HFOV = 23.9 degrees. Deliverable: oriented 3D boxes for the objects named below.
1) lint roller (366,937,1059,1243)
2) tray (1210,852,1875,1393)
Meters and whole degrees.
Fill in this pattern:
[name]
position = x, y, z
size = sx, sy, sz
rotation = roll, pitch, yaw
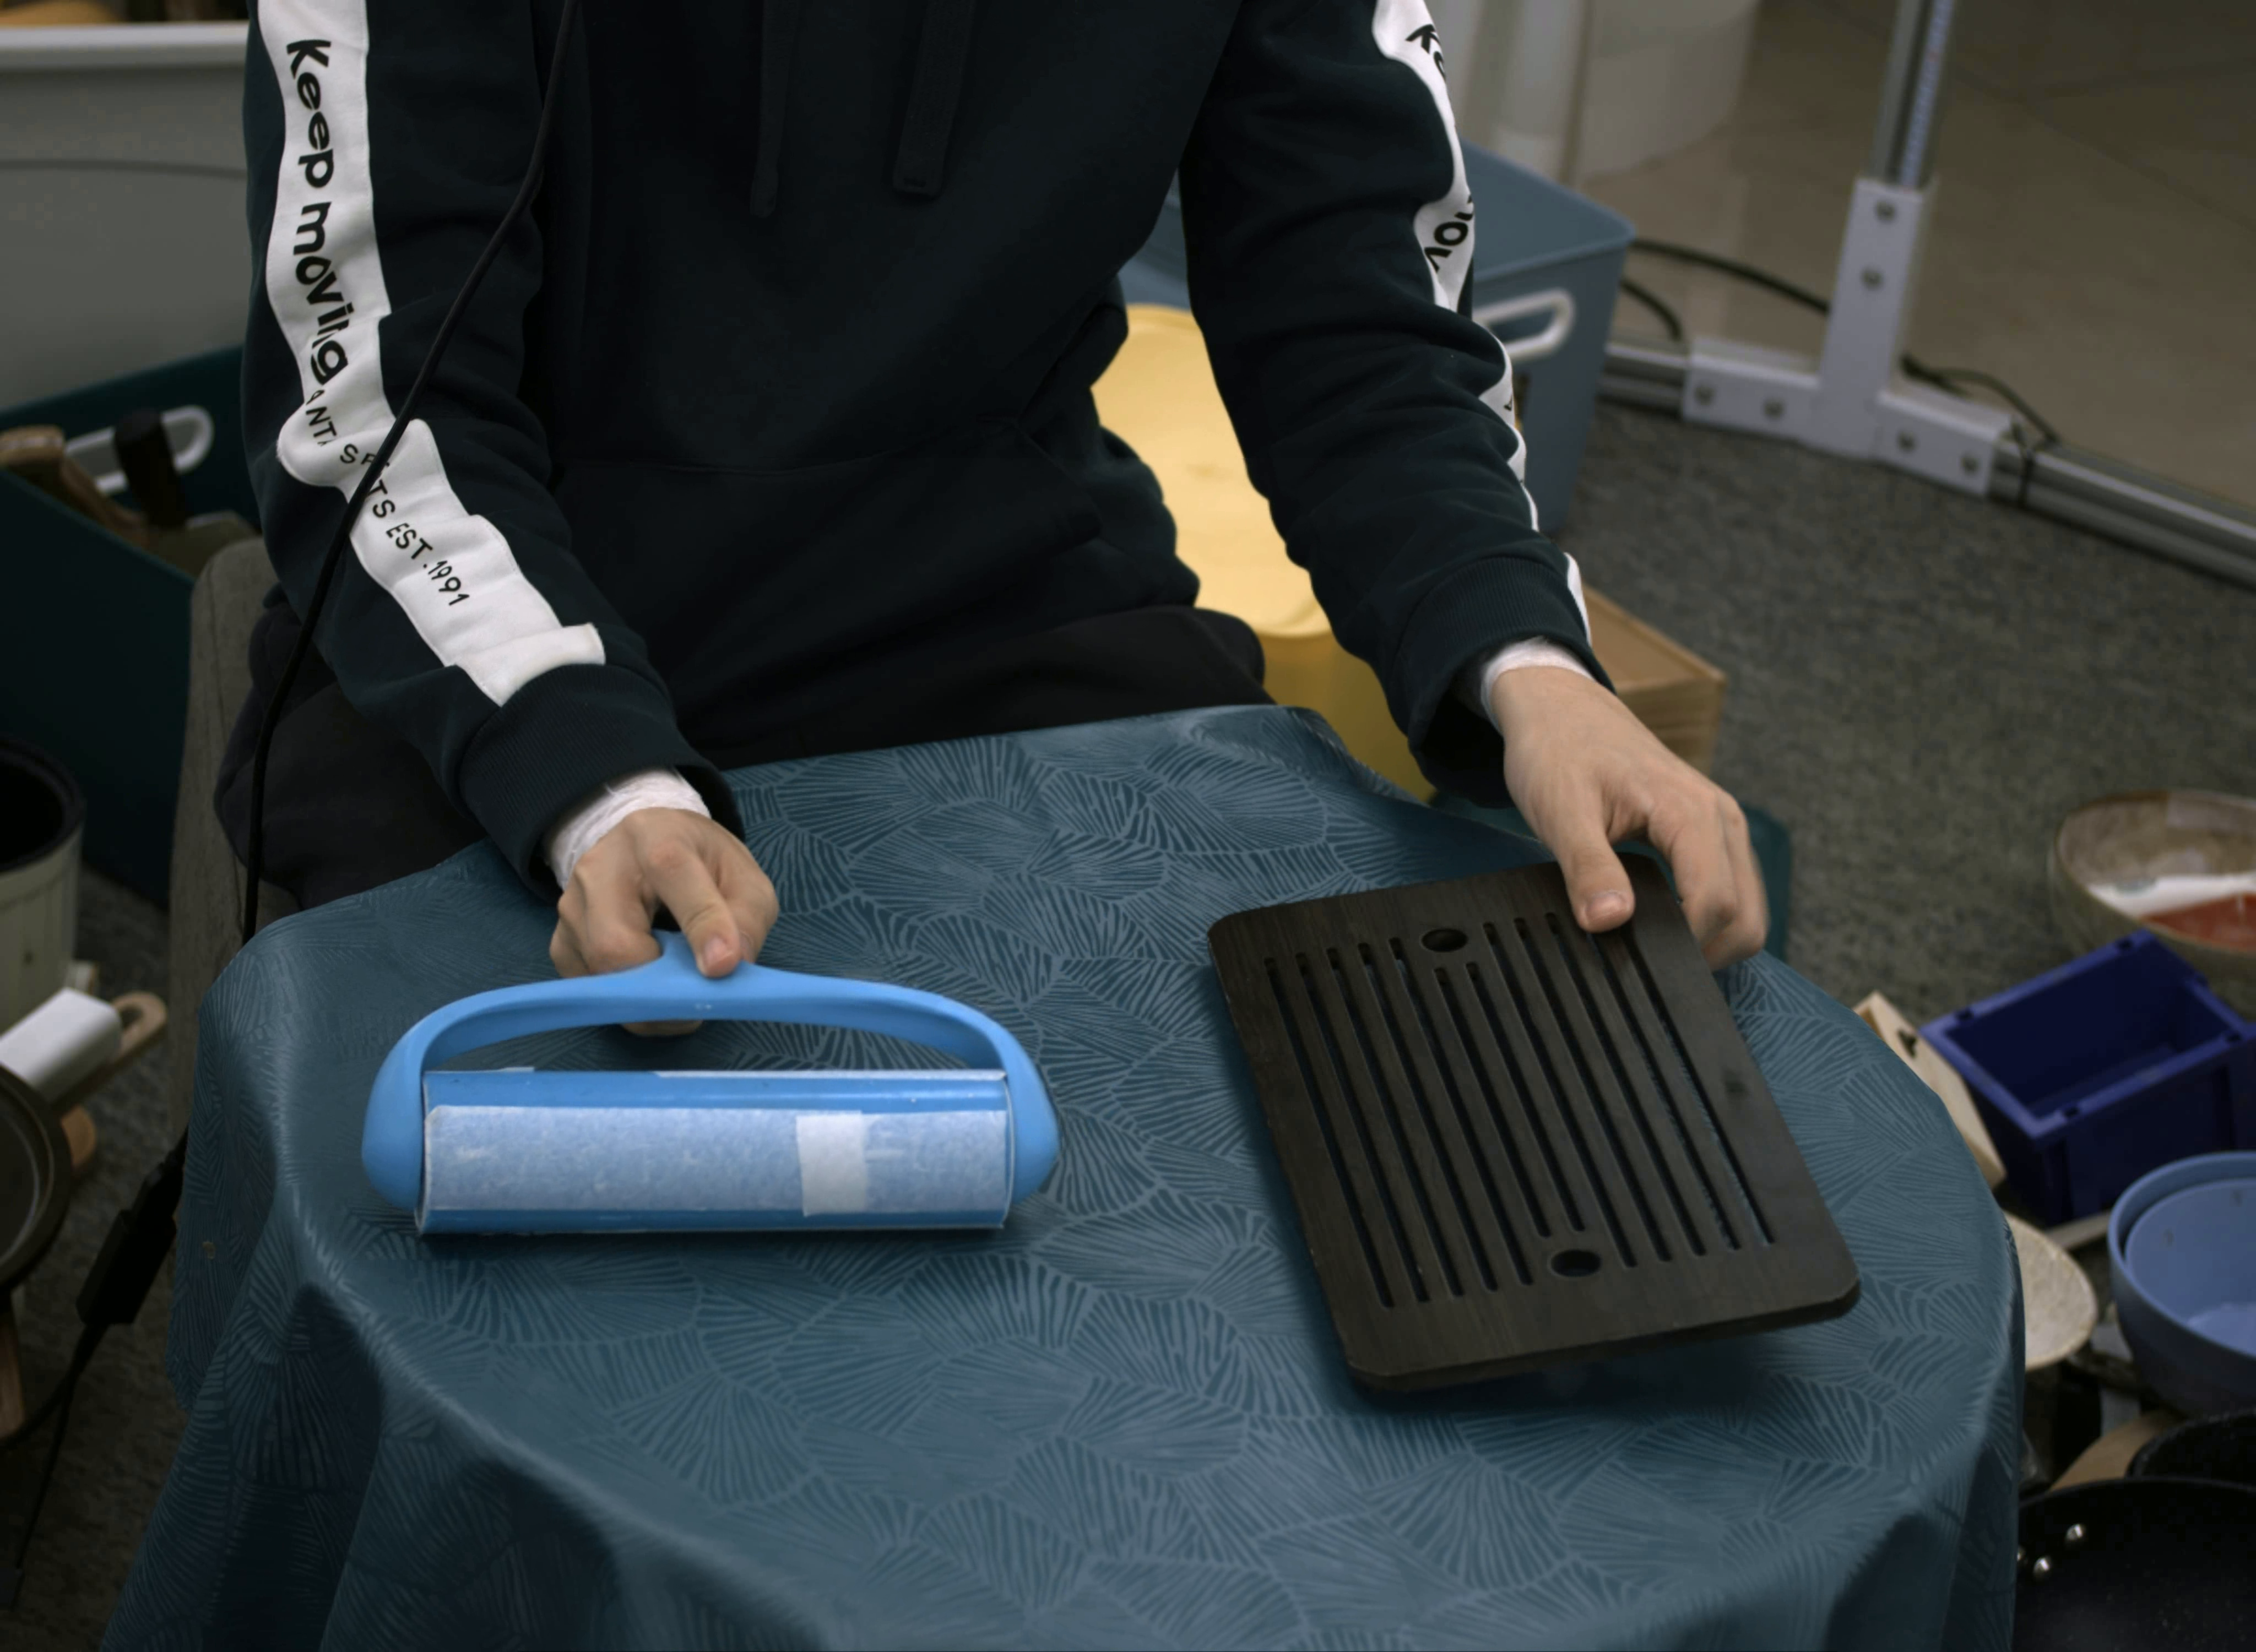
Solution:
[lint roller]
position = -0.148, 0.074, 1.791
size = 0.228, 0.067, 0.182
rotation = -3, 33, -13
[tray]
position = 0.135, 0.098, 1.824
size = 0.169, 0.018, 0.308
rotation = -9, 29, -5
